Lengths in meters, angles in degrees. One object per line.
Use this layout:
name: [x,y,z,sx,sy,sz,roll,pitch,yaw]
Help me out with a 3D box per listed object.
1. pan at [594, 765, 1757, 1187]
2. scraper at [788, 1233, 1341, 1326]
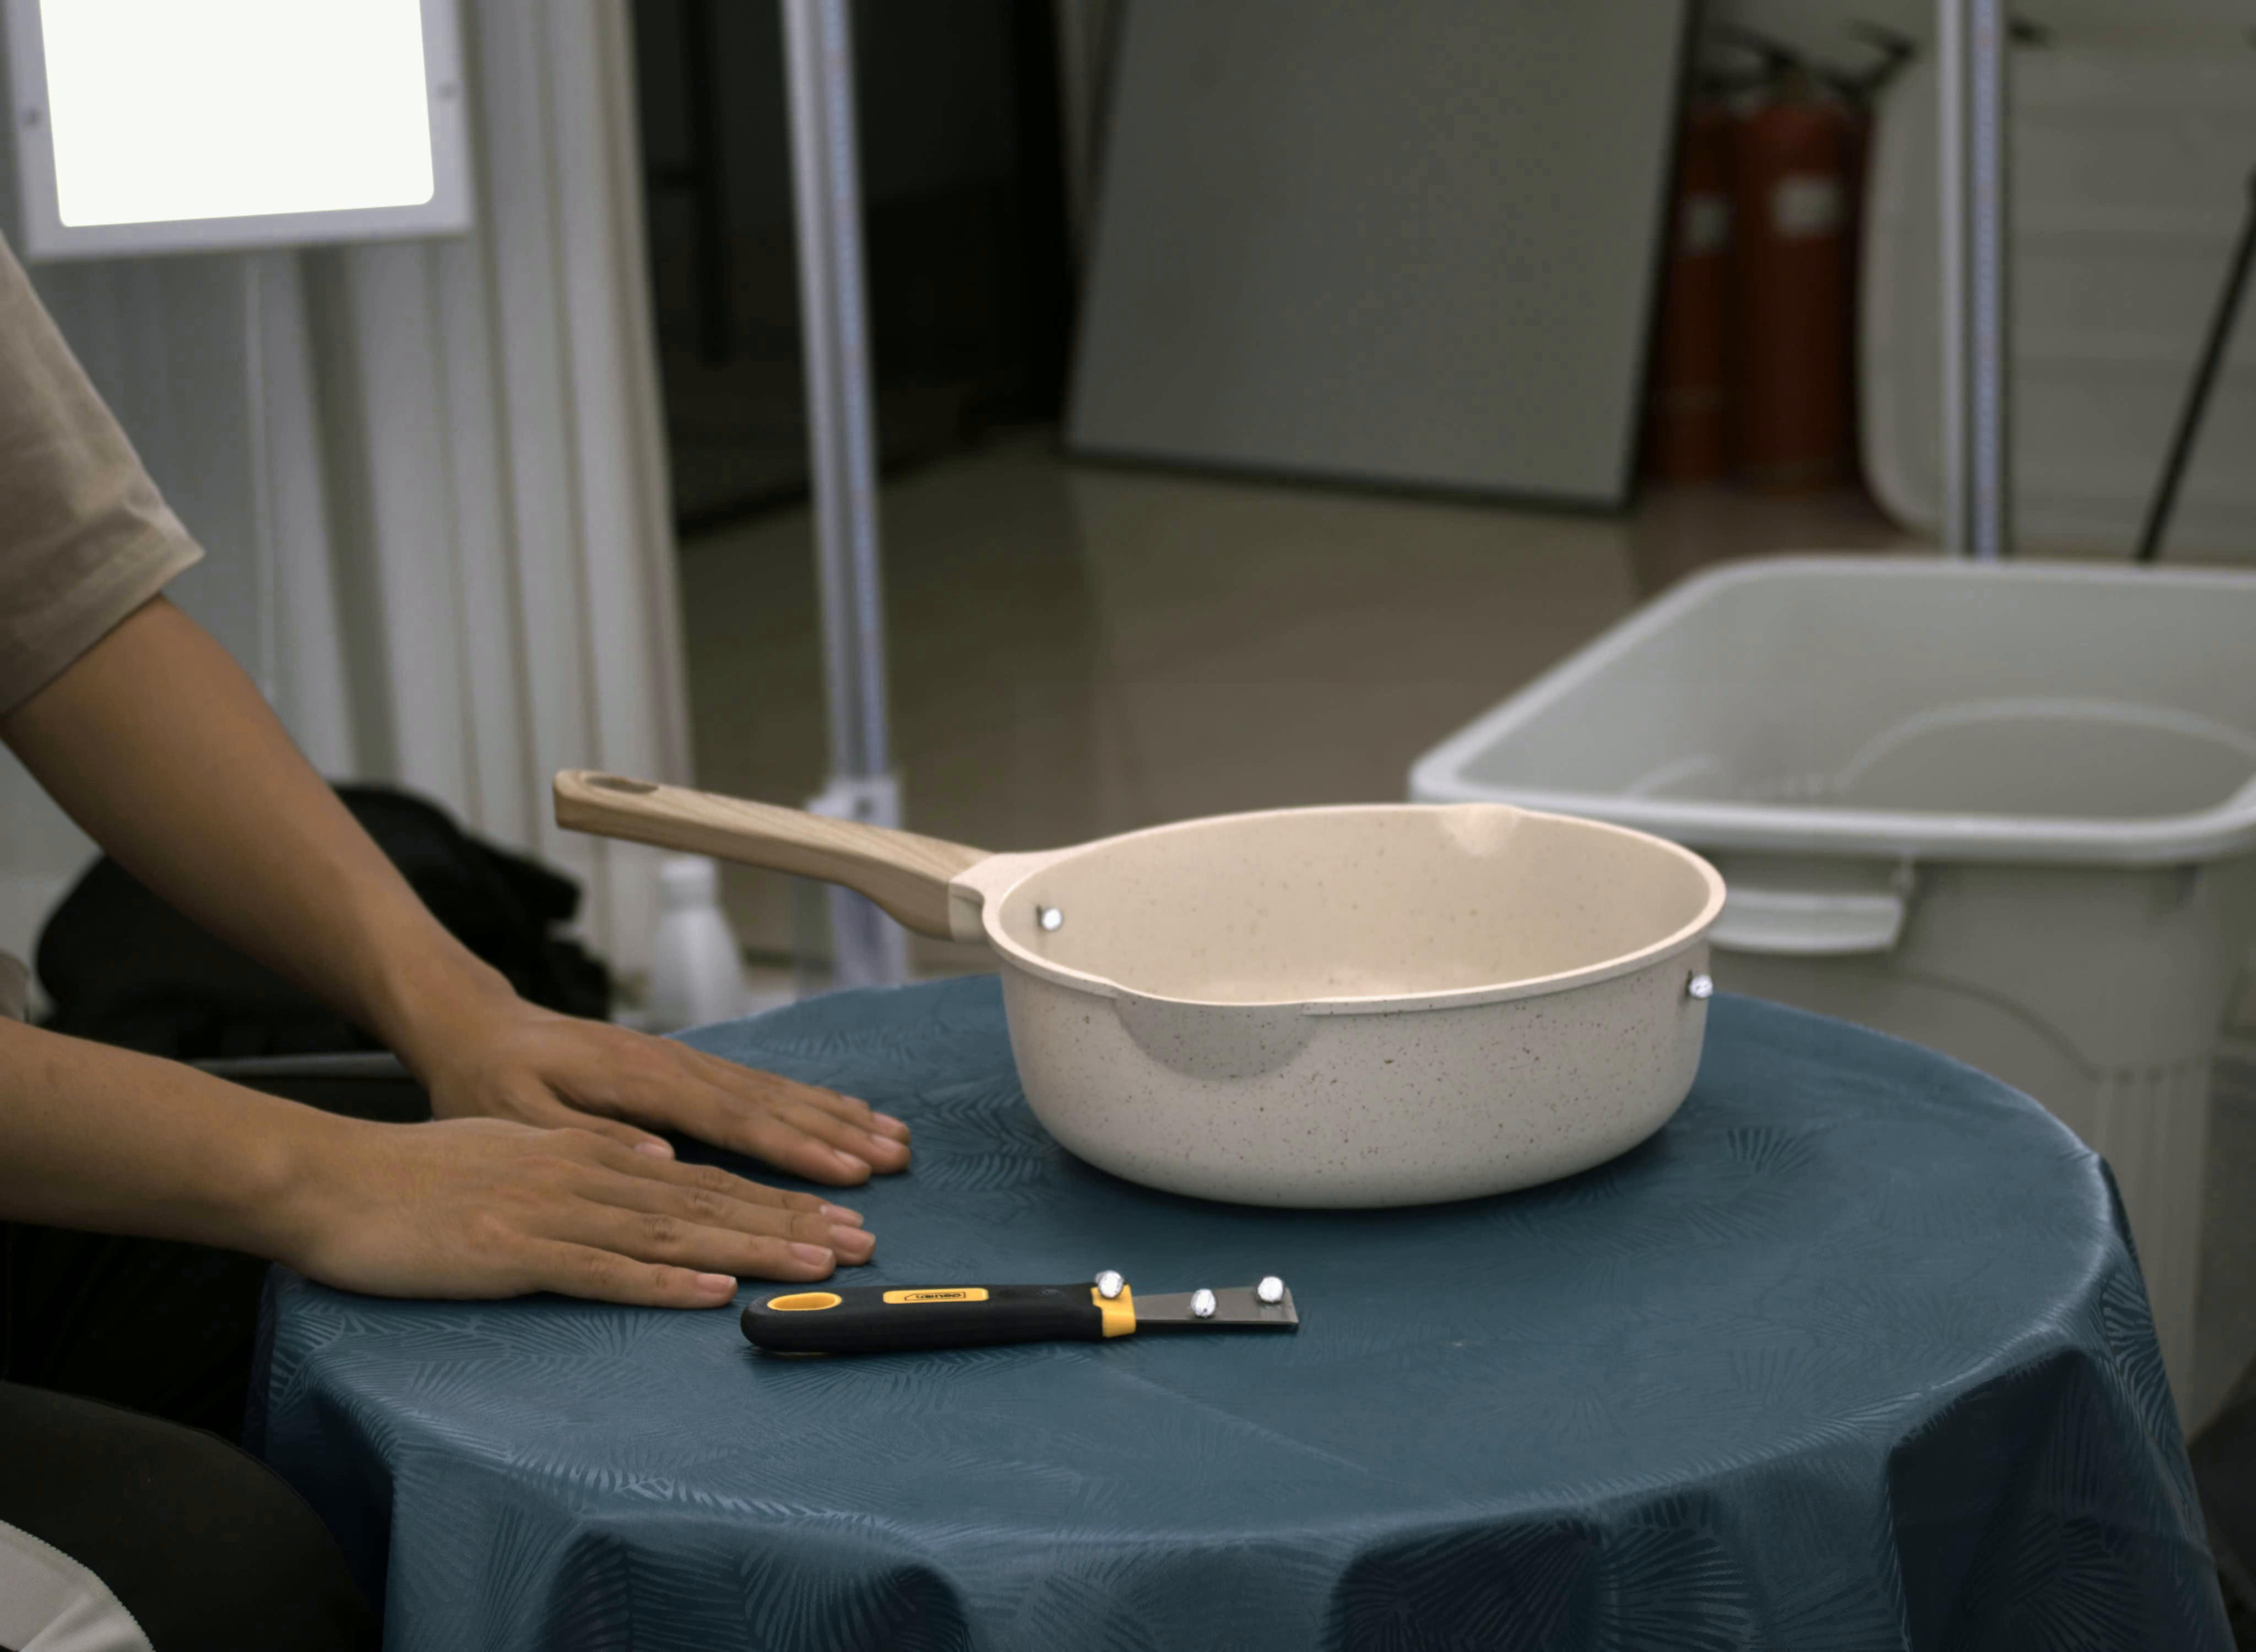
pan: [0.009,0.042,1.876,0.435,0.103,0.260,3,18,26]
scraper: [-0.019,0.138,1.649,0.168,0.015,0.039,-2,19,-4]
